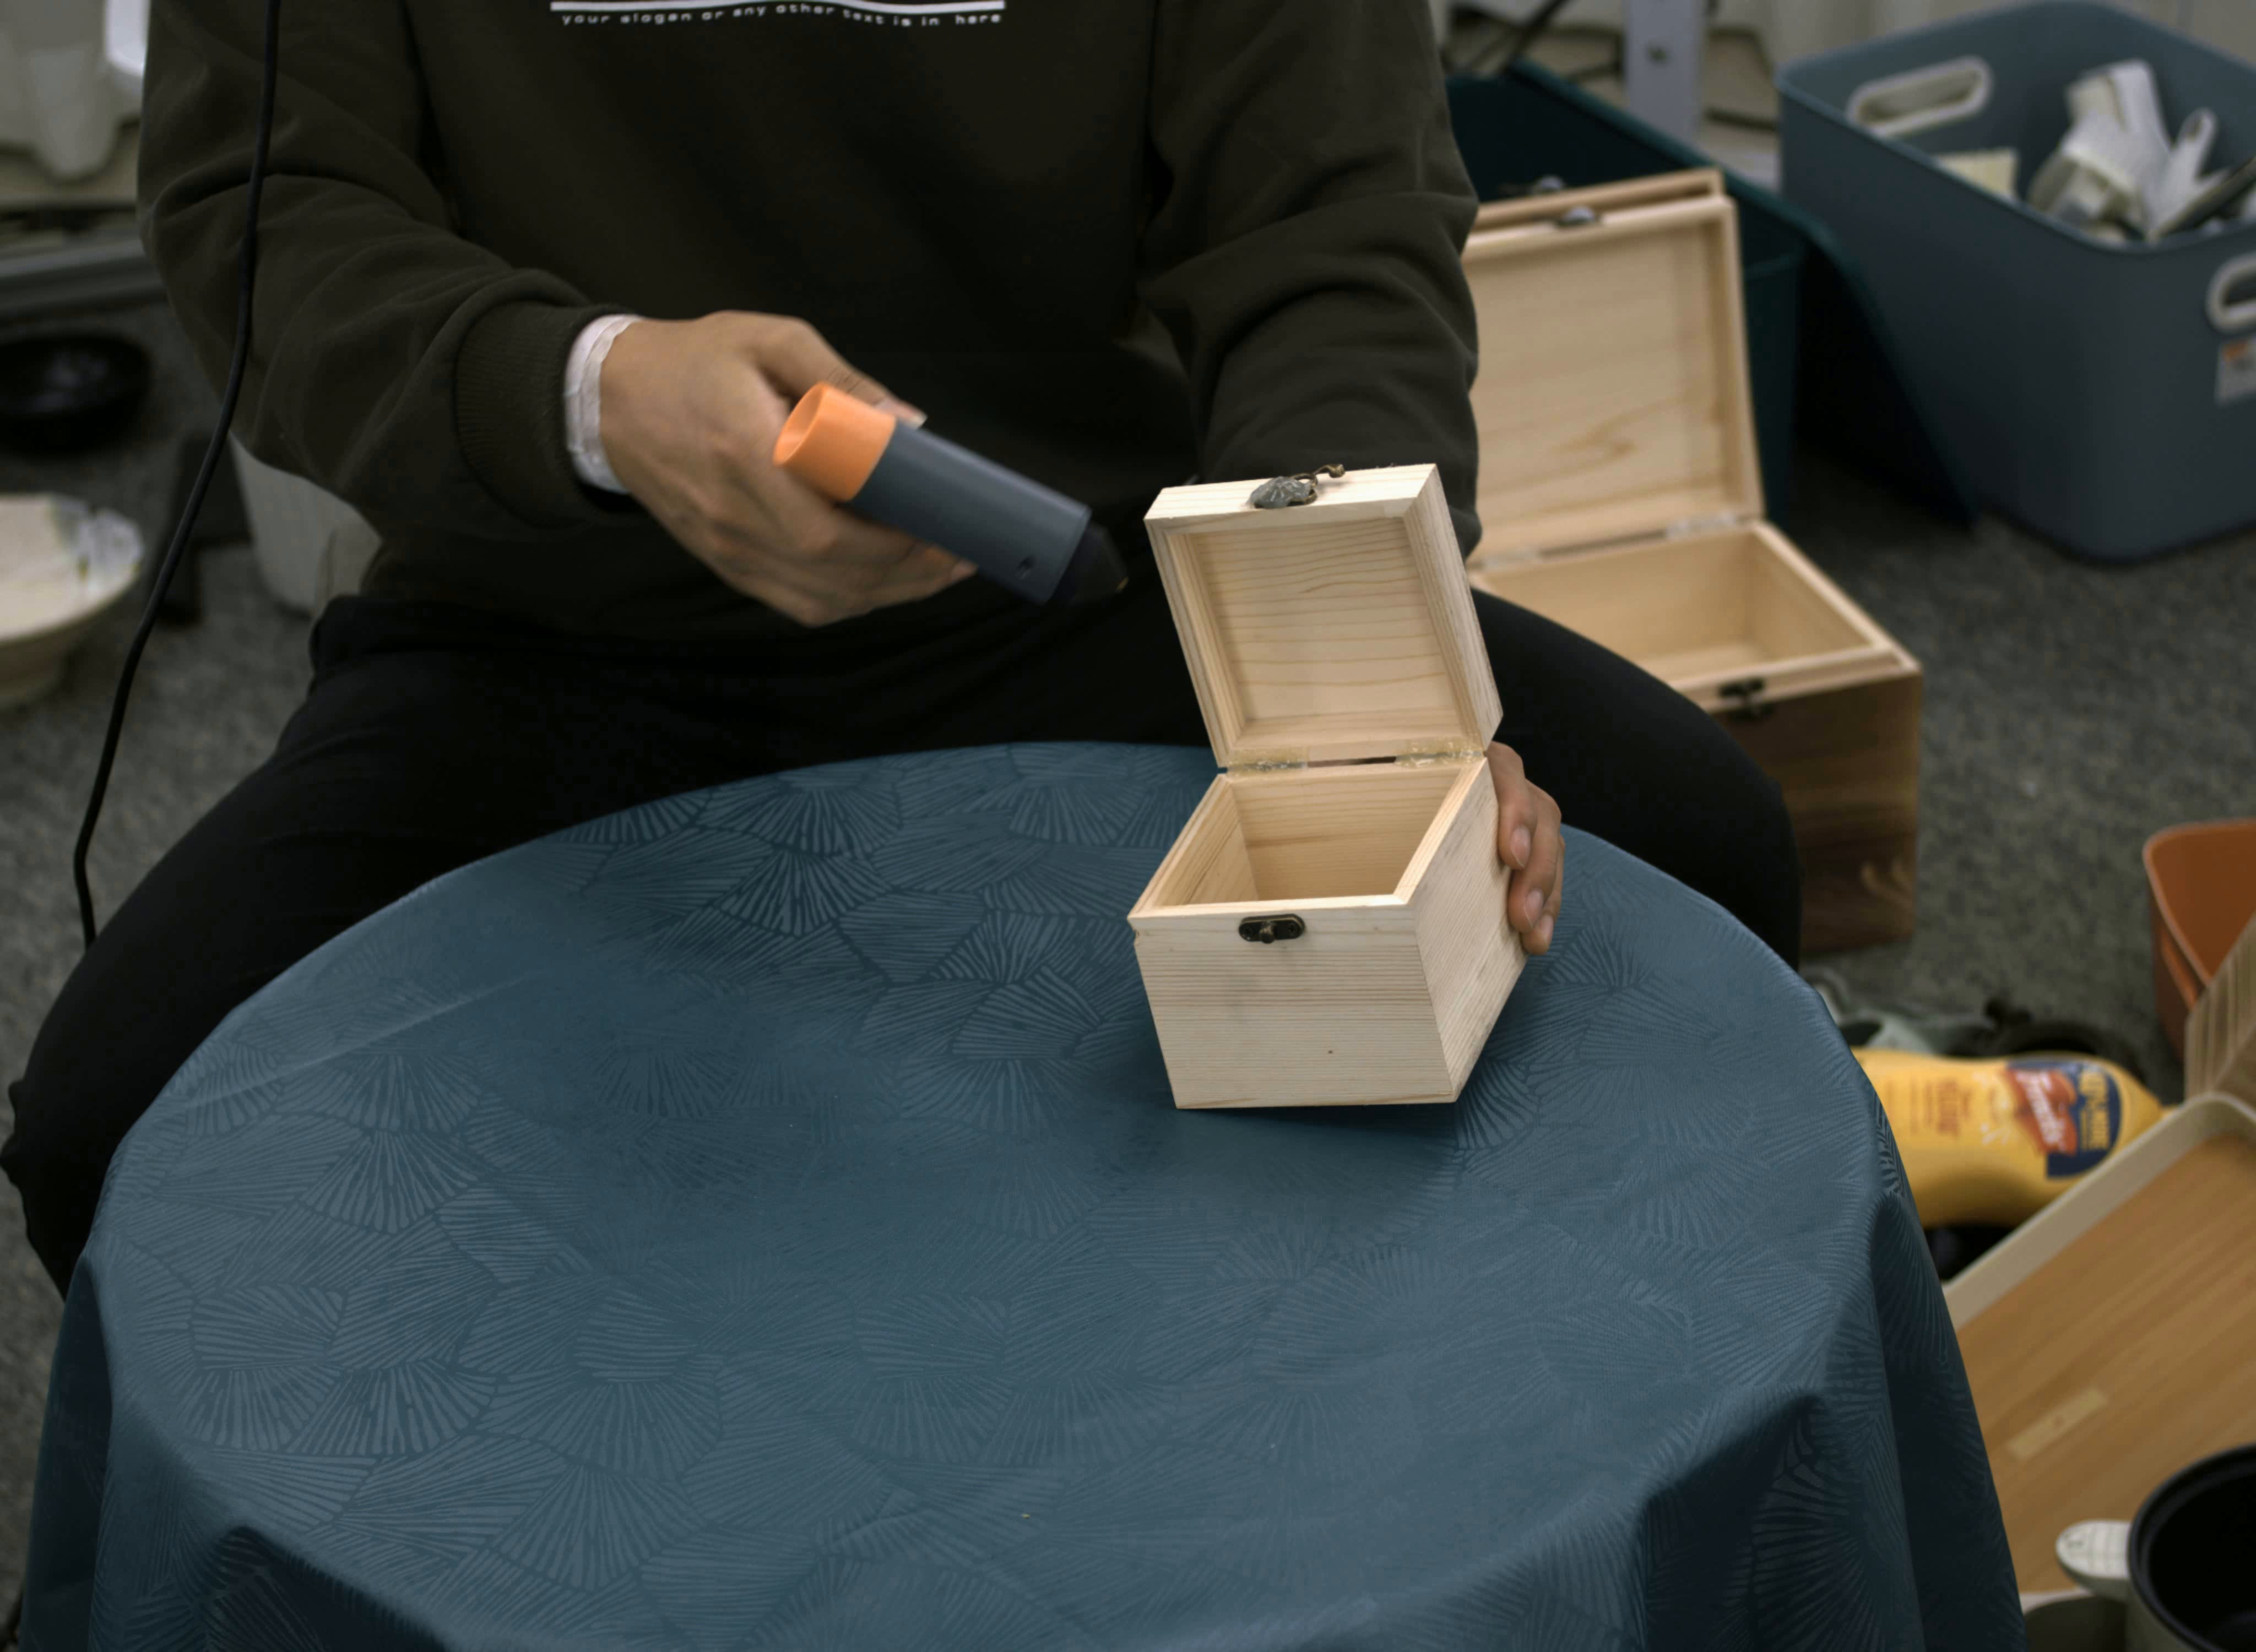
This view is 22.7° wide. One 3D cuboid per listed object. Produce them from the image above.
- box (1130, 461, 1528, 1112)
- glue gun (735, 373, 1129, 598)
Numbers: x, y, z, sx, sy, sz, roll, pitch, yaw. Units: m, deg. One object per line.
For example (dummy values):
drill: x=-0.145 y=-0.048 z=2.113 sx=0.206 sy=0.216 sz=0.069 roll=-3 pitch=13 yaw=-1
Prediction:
box: x=0.061 y=-0.013 z=1.905 sx=0.101 sy=0.183 sz=0.136 roll=-4 pitch=27 yaw=22
glue gun: x=-0.071 y=-0.109 z=1.923 sx=0.117 sy=0.041 sz=0.139 roll=31 pitch=-14 yaw=-20
